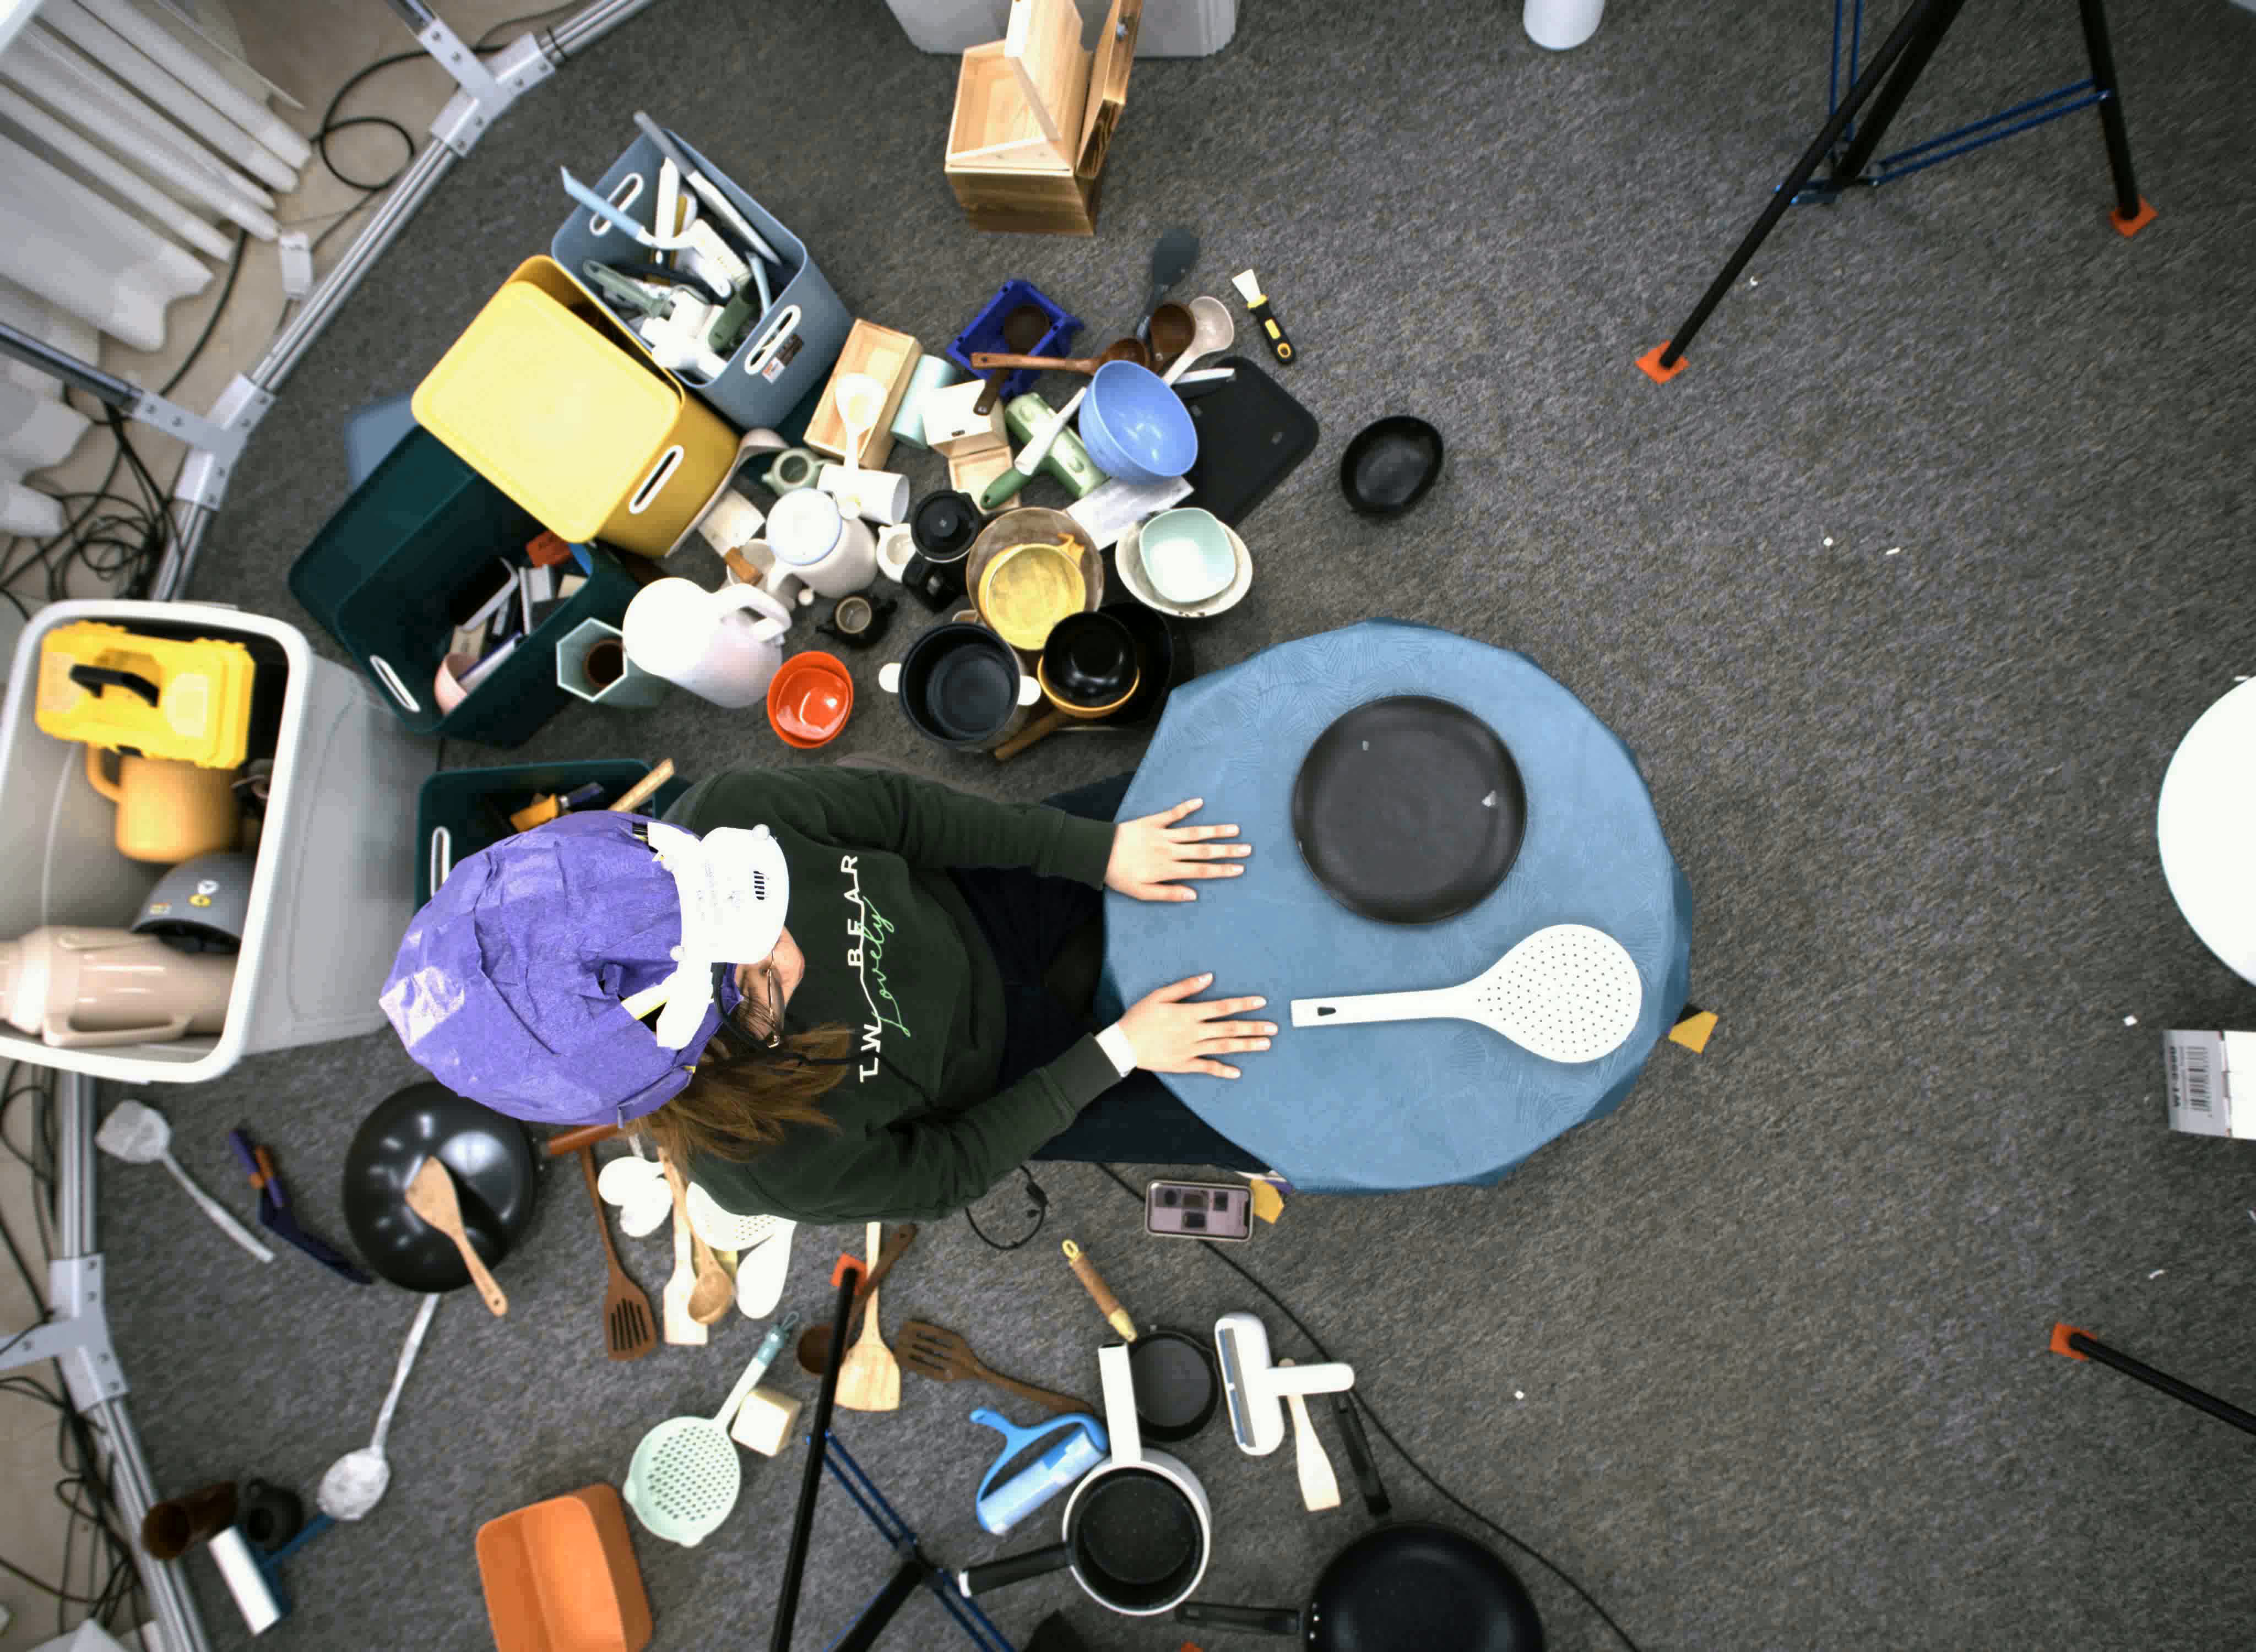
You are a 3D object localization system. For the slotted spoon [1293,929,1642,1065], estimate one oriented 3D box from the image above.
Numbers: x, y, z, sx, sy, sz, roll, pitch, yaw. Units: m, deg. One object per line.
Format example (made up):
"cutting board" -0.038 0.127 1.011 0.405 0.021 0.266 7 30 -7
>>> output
"slotted spoon" 0.344 0.181 1.421 0.351 0.046 0.135 -5 83 11

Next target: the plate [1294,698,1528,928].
"plate" 0.297 -0.015 1.454 0.245 0.023 0.243 -1 86 10
